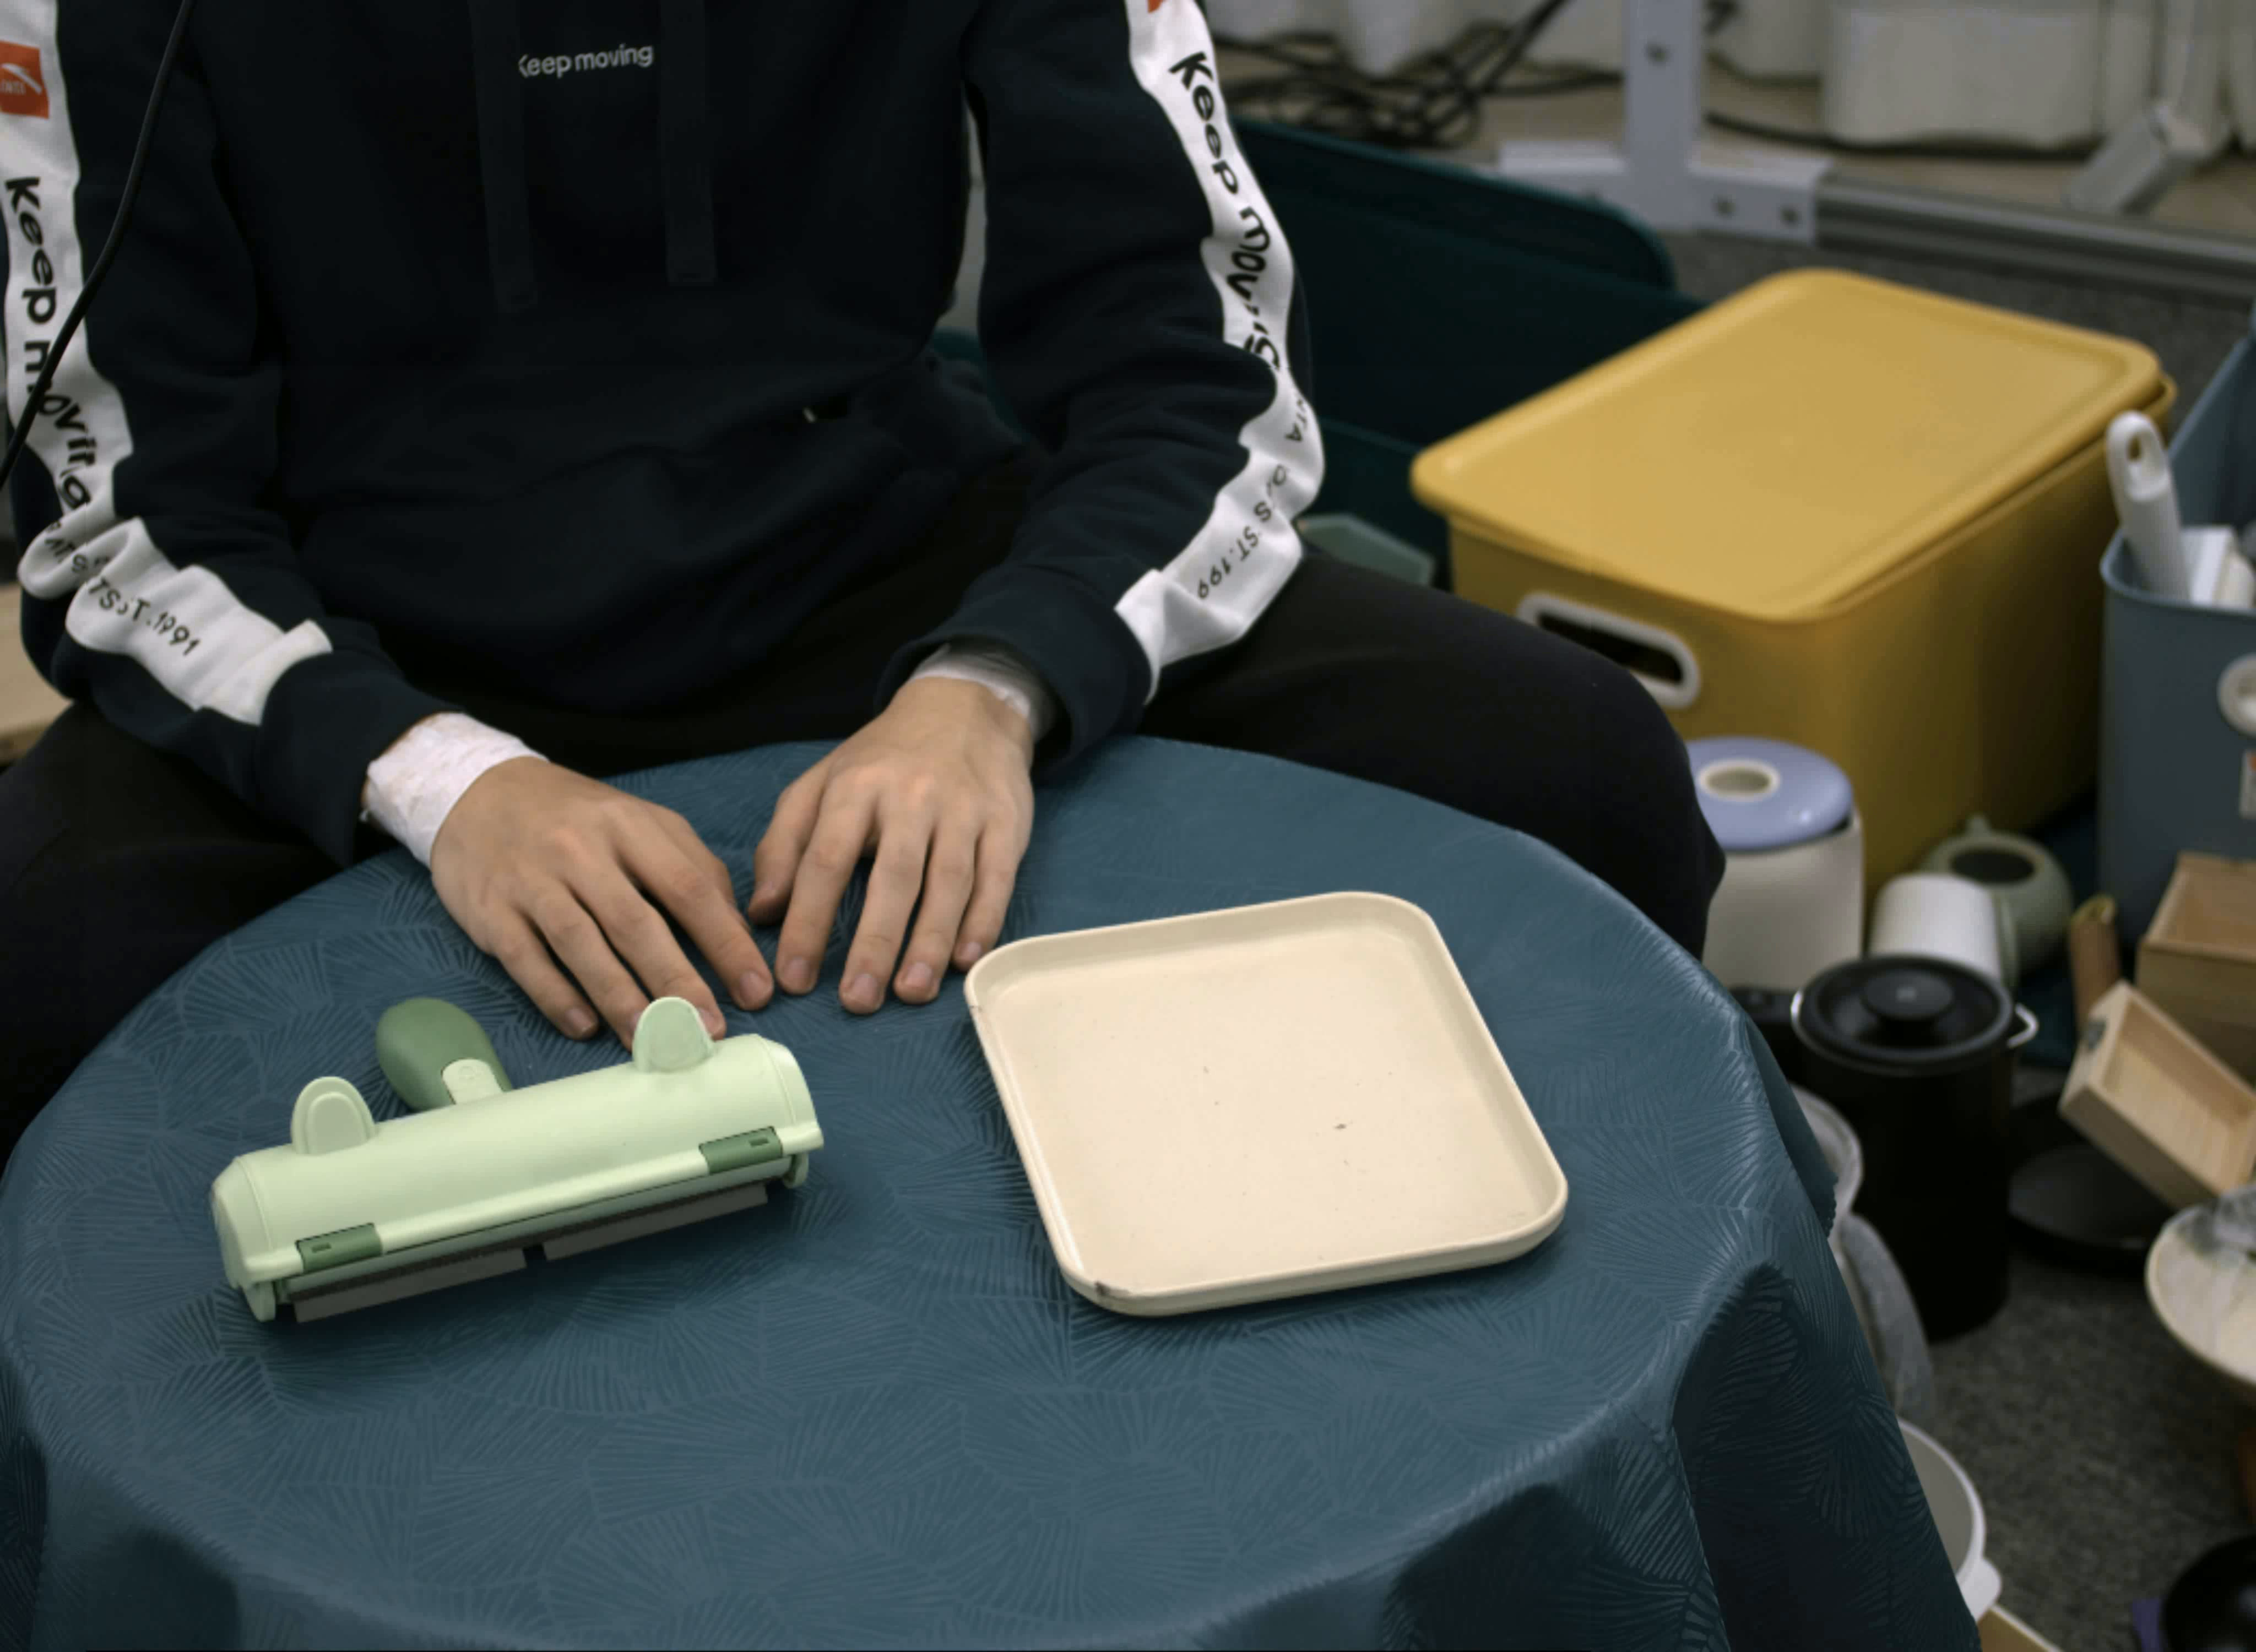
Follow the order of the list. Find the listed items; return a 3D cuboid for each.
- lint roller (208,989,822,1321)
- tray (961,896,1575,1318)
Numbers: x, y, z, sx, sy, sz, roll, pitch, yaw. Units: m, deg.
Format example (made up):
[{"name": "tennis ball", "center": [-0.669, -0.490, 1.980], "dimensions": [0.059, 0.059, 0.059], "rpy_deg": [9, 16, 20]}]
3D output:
[{"name": "lint roller", "center": [-0.220, 0.082, 1.875], "dimensions": [0.199, 0.081, 0.185], "rpy_deg": [-13, 33, -18]}, {"name": "tray", "center": [0.044, 0.093, 1.891], "dimensions": [0.171, 0.017, 0.242], "rpy_deg": [-7, 28, -10]}]
